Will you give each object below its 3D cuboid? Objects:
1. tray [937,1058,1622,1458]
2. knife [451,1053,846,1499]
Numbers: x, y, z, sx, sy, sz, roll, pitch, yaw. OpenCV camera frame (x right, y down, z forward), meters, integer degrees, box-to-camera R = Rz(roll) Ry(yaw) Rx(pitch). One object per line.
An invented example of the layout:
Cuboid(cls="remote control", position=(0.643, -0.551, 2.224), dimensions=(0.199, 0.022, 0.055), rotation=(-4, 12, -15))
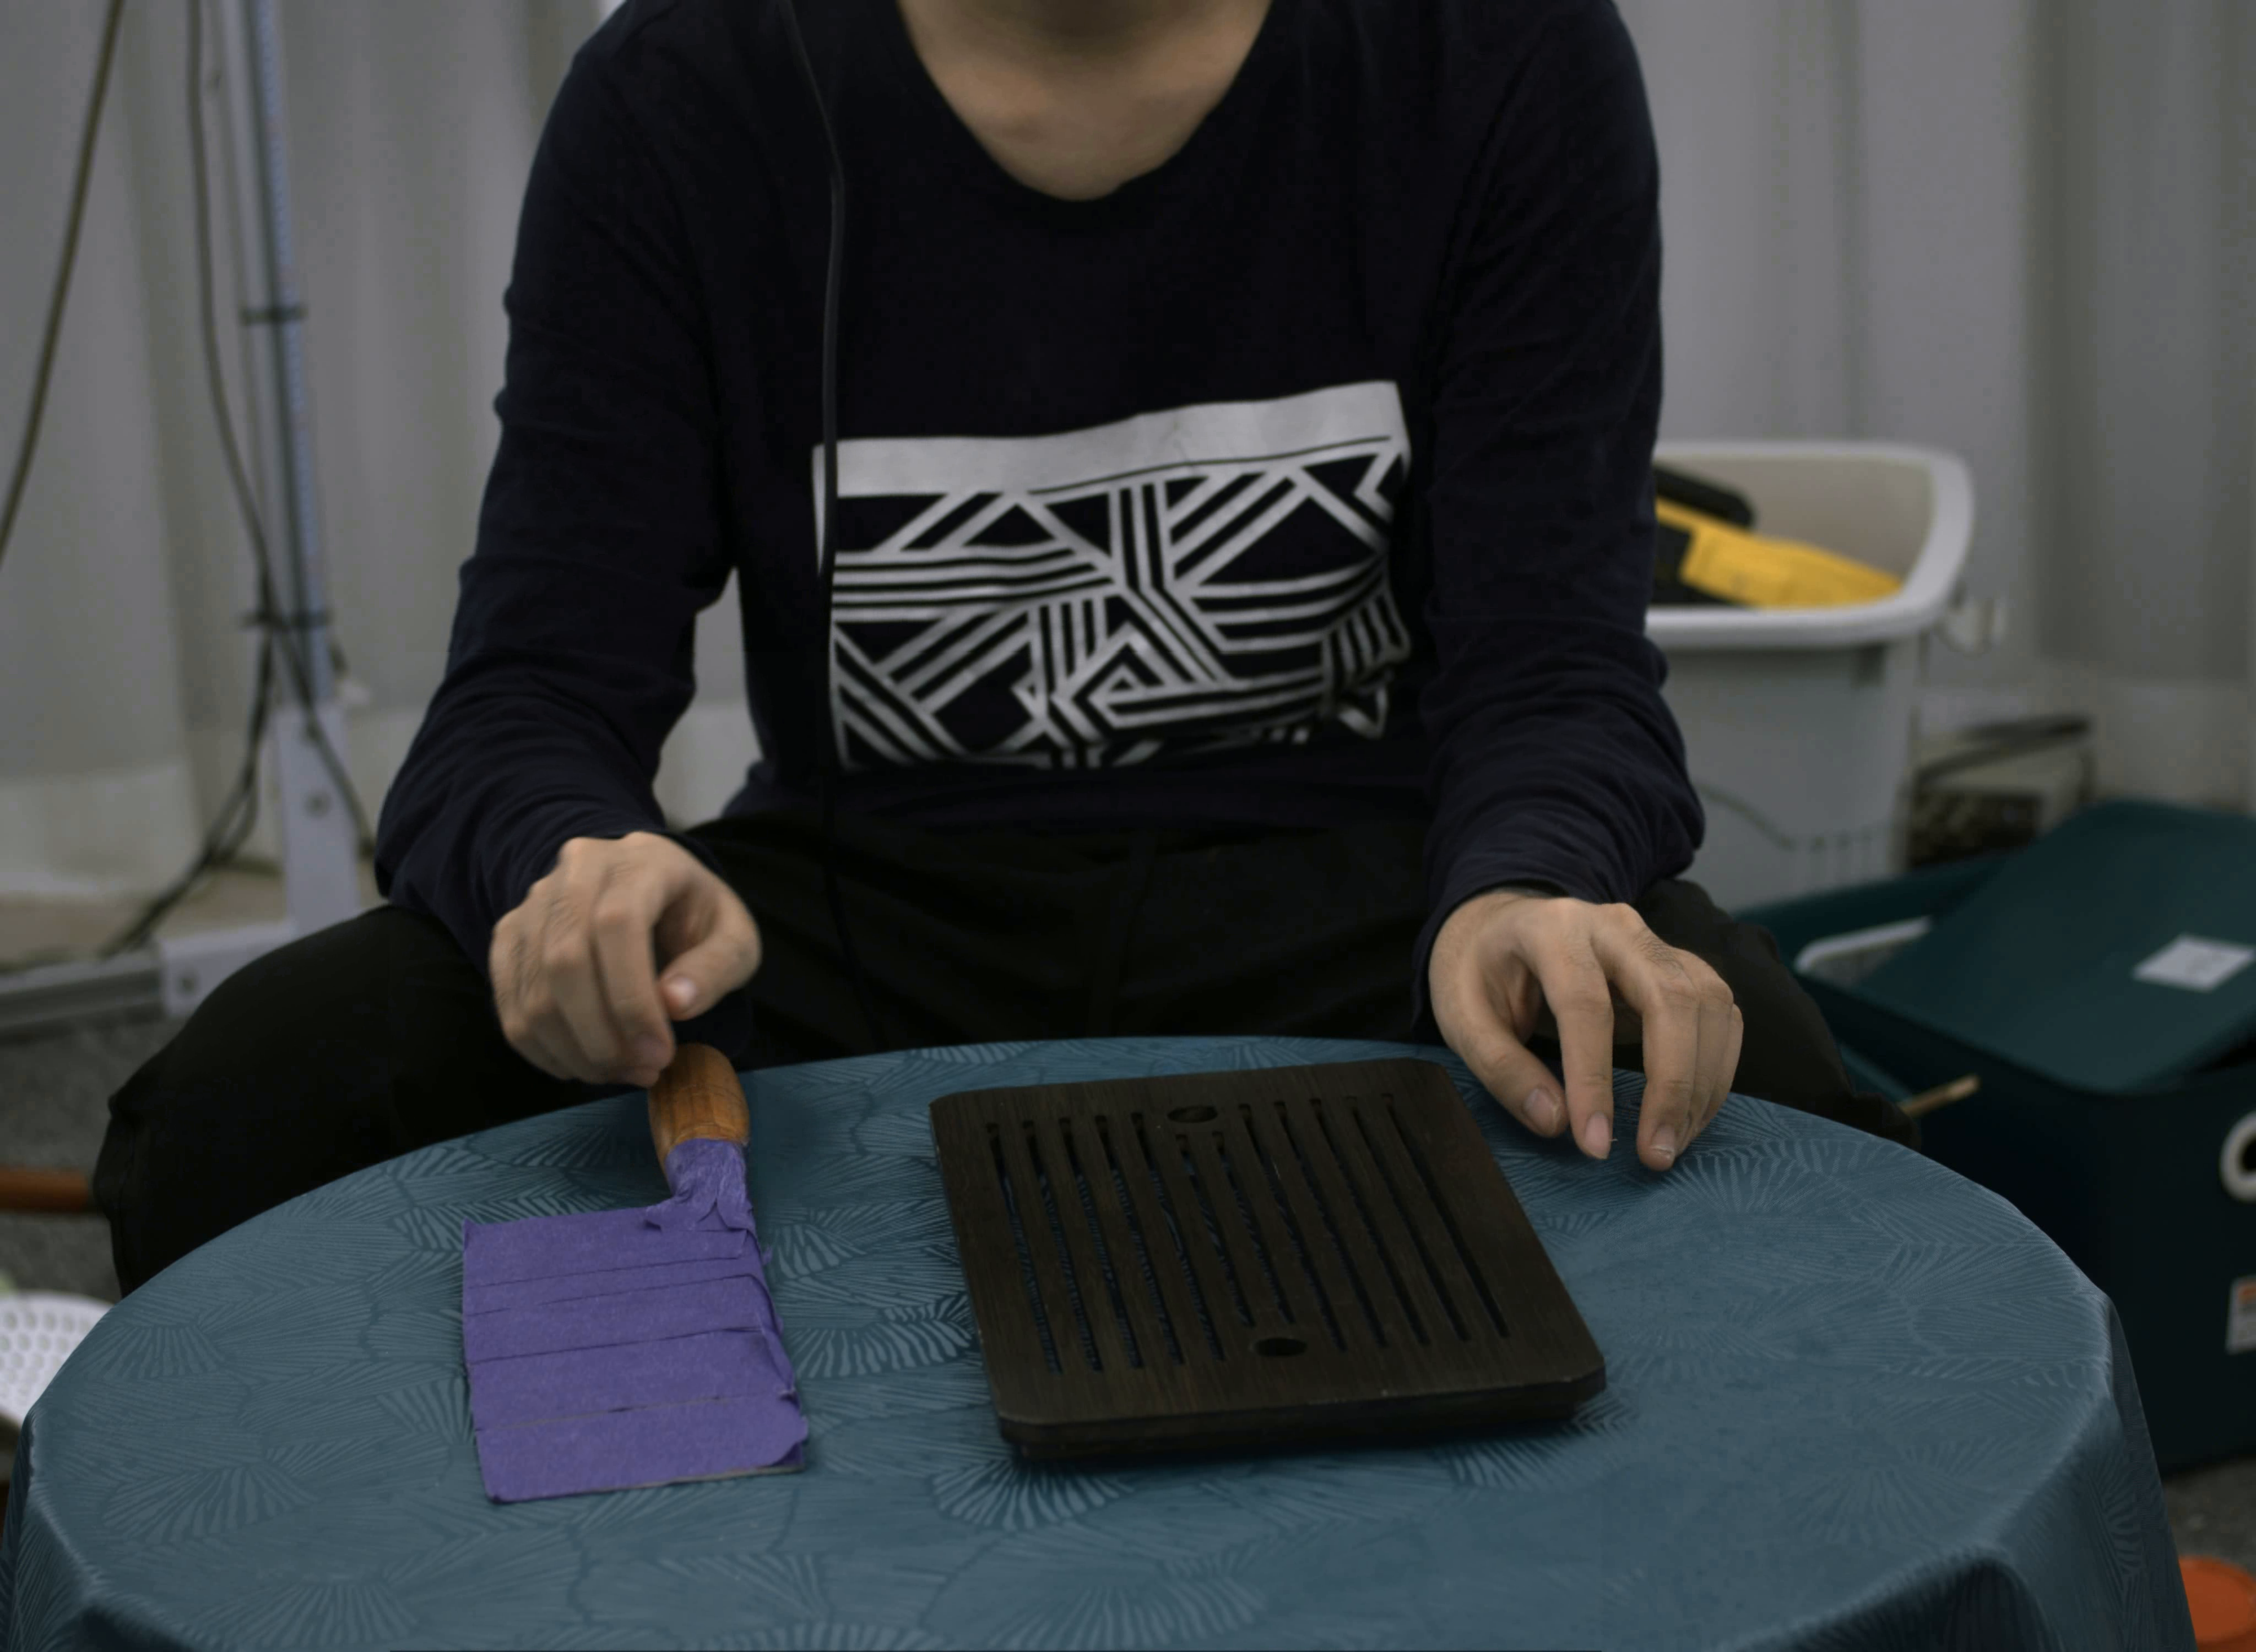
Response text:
Cuboid(cls="tray", position=(0.037, 0.126, 1.633), dimensions=(0.169, 0.018, 0.308), rotation=(-4, 14, -5))
Cuboid(cls="knife", position=(-0.152, 0.130, 1.635), dimensions=(0.103, 0.032, 0.318), rotation=(-5, 15, -8))
